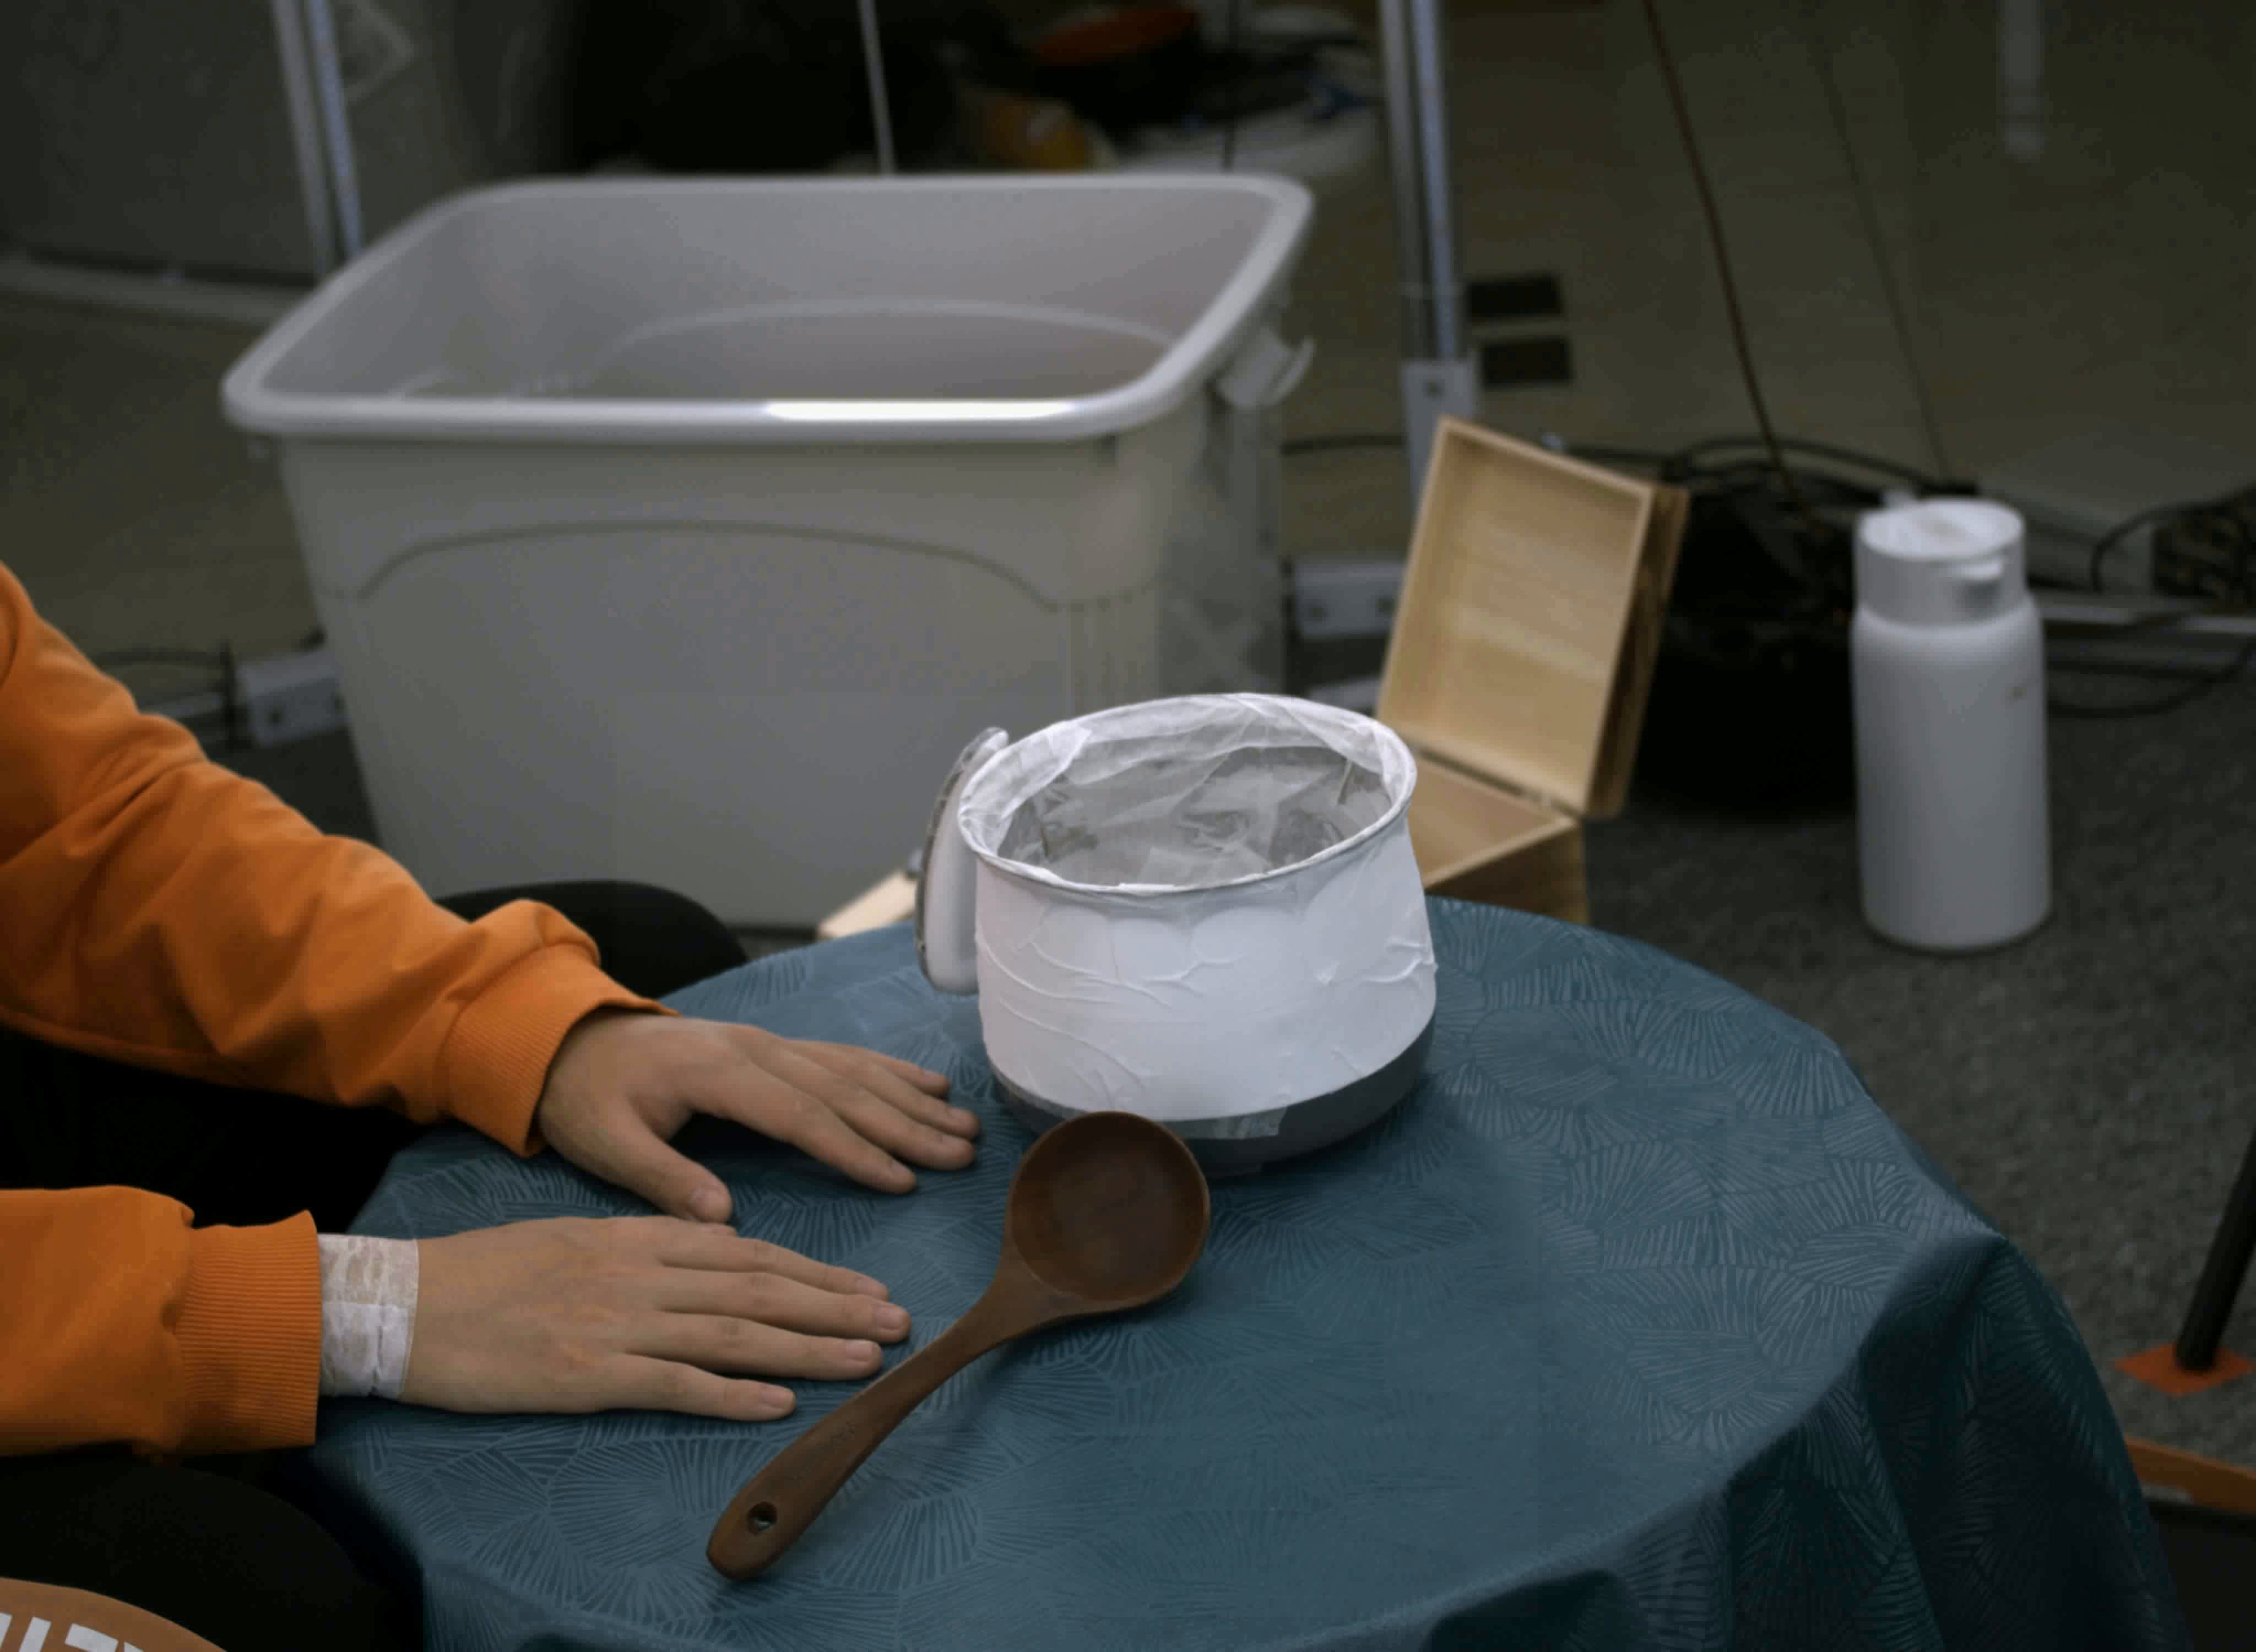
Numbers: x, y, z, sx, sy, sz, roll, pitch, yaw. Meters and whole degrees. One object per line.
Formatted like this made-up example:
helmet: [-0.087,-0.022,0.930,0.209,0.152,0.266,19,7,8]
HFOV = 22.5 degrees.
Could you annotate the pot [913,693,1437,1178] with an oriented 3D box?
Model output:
pot: [0.007,0.038,2.197,0.232,0.139,0.177,14,32,37]

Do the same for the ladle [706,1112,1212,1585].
ladle: [-0.061,0.181,1.999,0.076,0.066,0.257,35,40,18]
